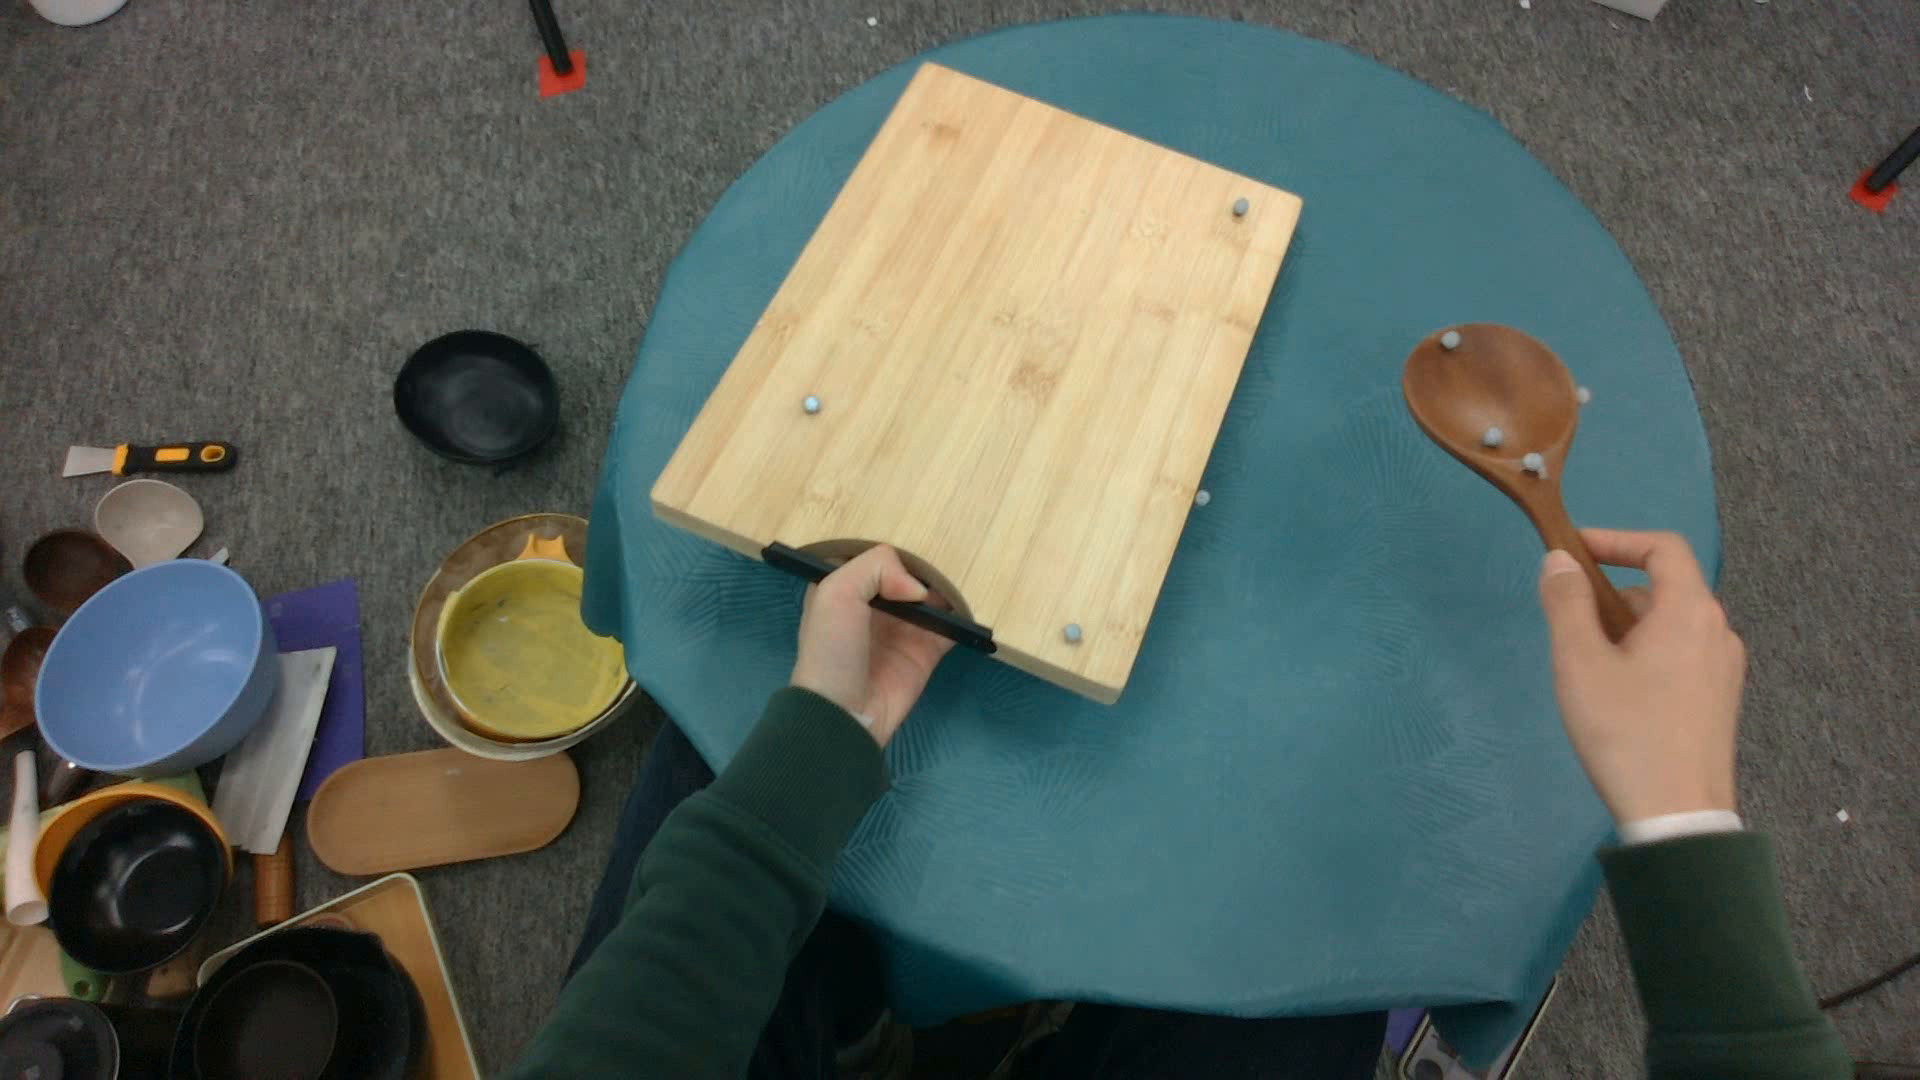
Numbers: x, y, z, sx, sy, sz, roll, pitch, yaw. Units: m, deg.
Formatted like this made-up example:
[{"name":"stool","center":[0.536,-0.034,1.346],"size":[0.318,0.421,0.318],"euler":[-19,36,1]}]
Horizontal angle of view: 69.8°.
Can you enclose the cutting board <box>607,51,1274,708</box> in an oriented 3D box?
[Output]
[{"name":"cutting board","center":[0.009,-0.104,0.722],"size":[0.250,0.023,0.350],"euler":[20,59,4]}]

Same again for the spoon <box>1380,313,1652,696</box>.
[{"name":"spoon","center":[0.240,-0.024,0.592],"size":[0.075,0.017,0.217],"euler":[-8,48,0]}]
